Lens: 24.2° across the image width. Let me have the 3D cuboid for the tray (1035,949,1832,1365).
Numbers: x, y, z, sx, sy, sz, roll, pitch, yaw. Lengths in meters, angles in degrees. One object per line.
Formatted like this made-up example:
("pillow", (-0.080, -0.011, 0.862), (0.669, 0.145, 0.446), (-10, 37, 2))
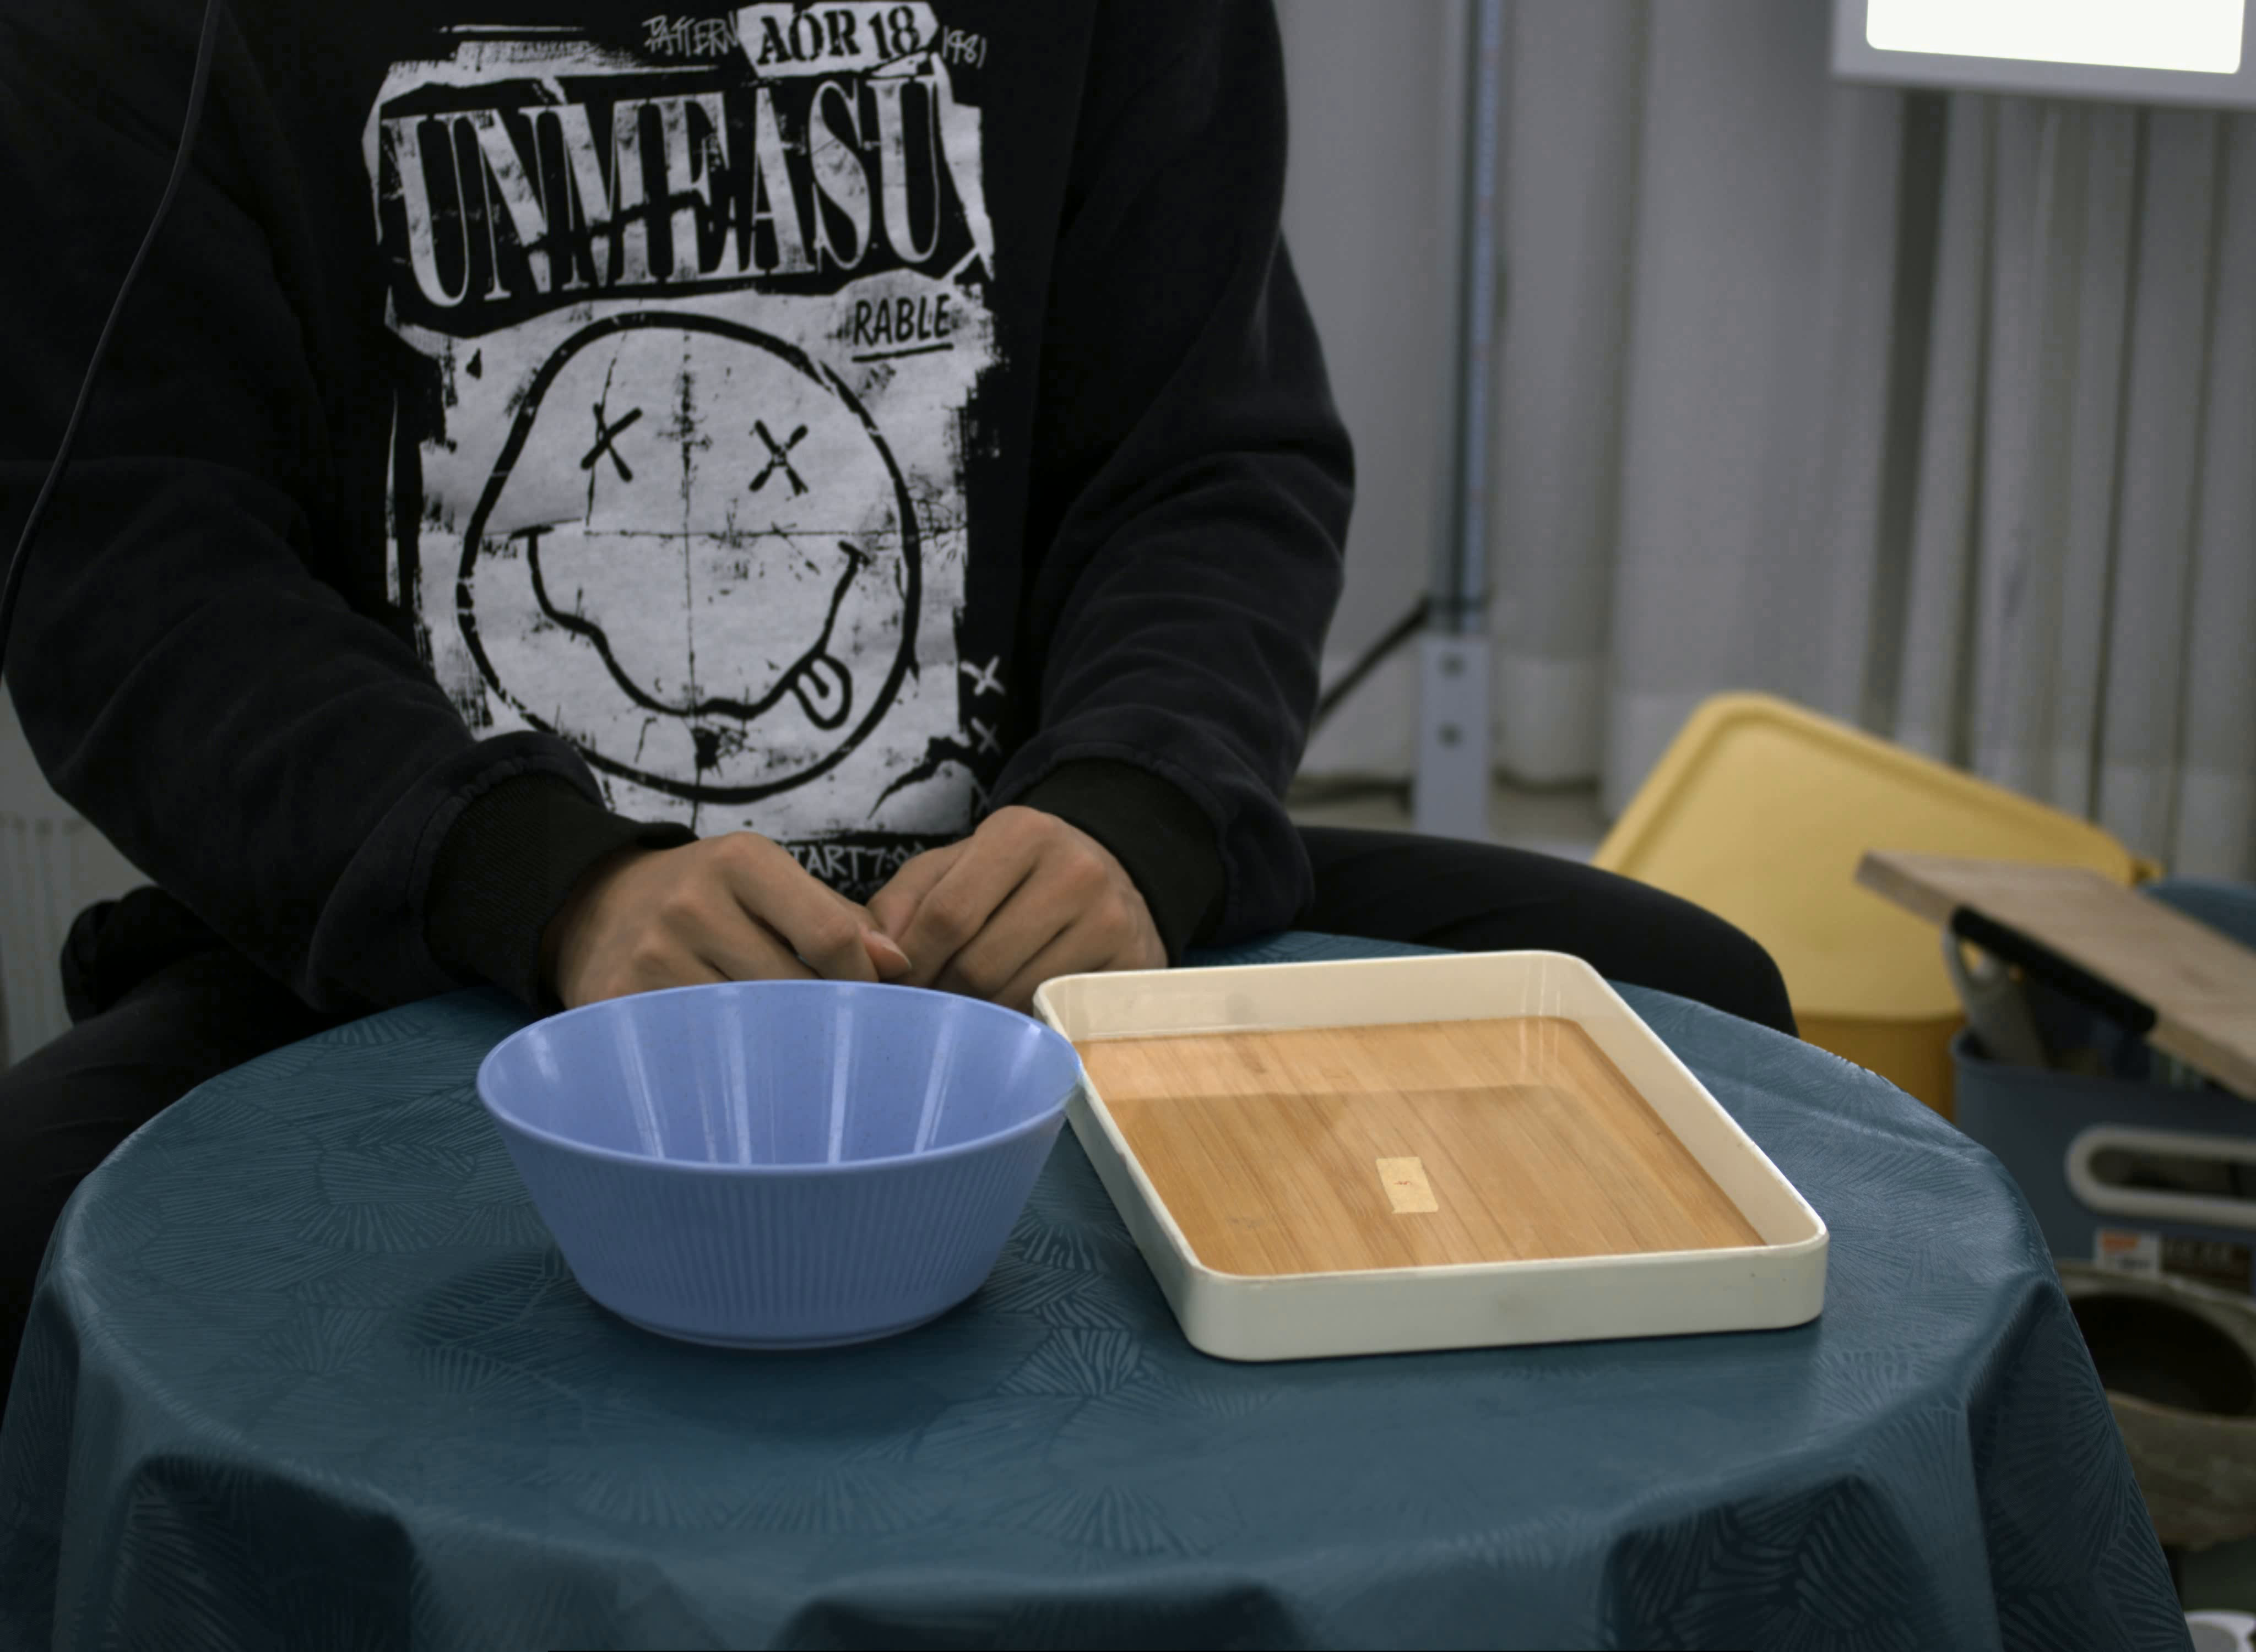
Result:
("tray", (0.086, 0.098, 1.635), (0.191, 0.027, 0.297), (-3, 16, -11))

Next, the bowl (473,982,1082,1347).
("bowl", (-0.102, 0.101, 1.533), (0.175, 0.071, 0.175), (2, 16, 0))
